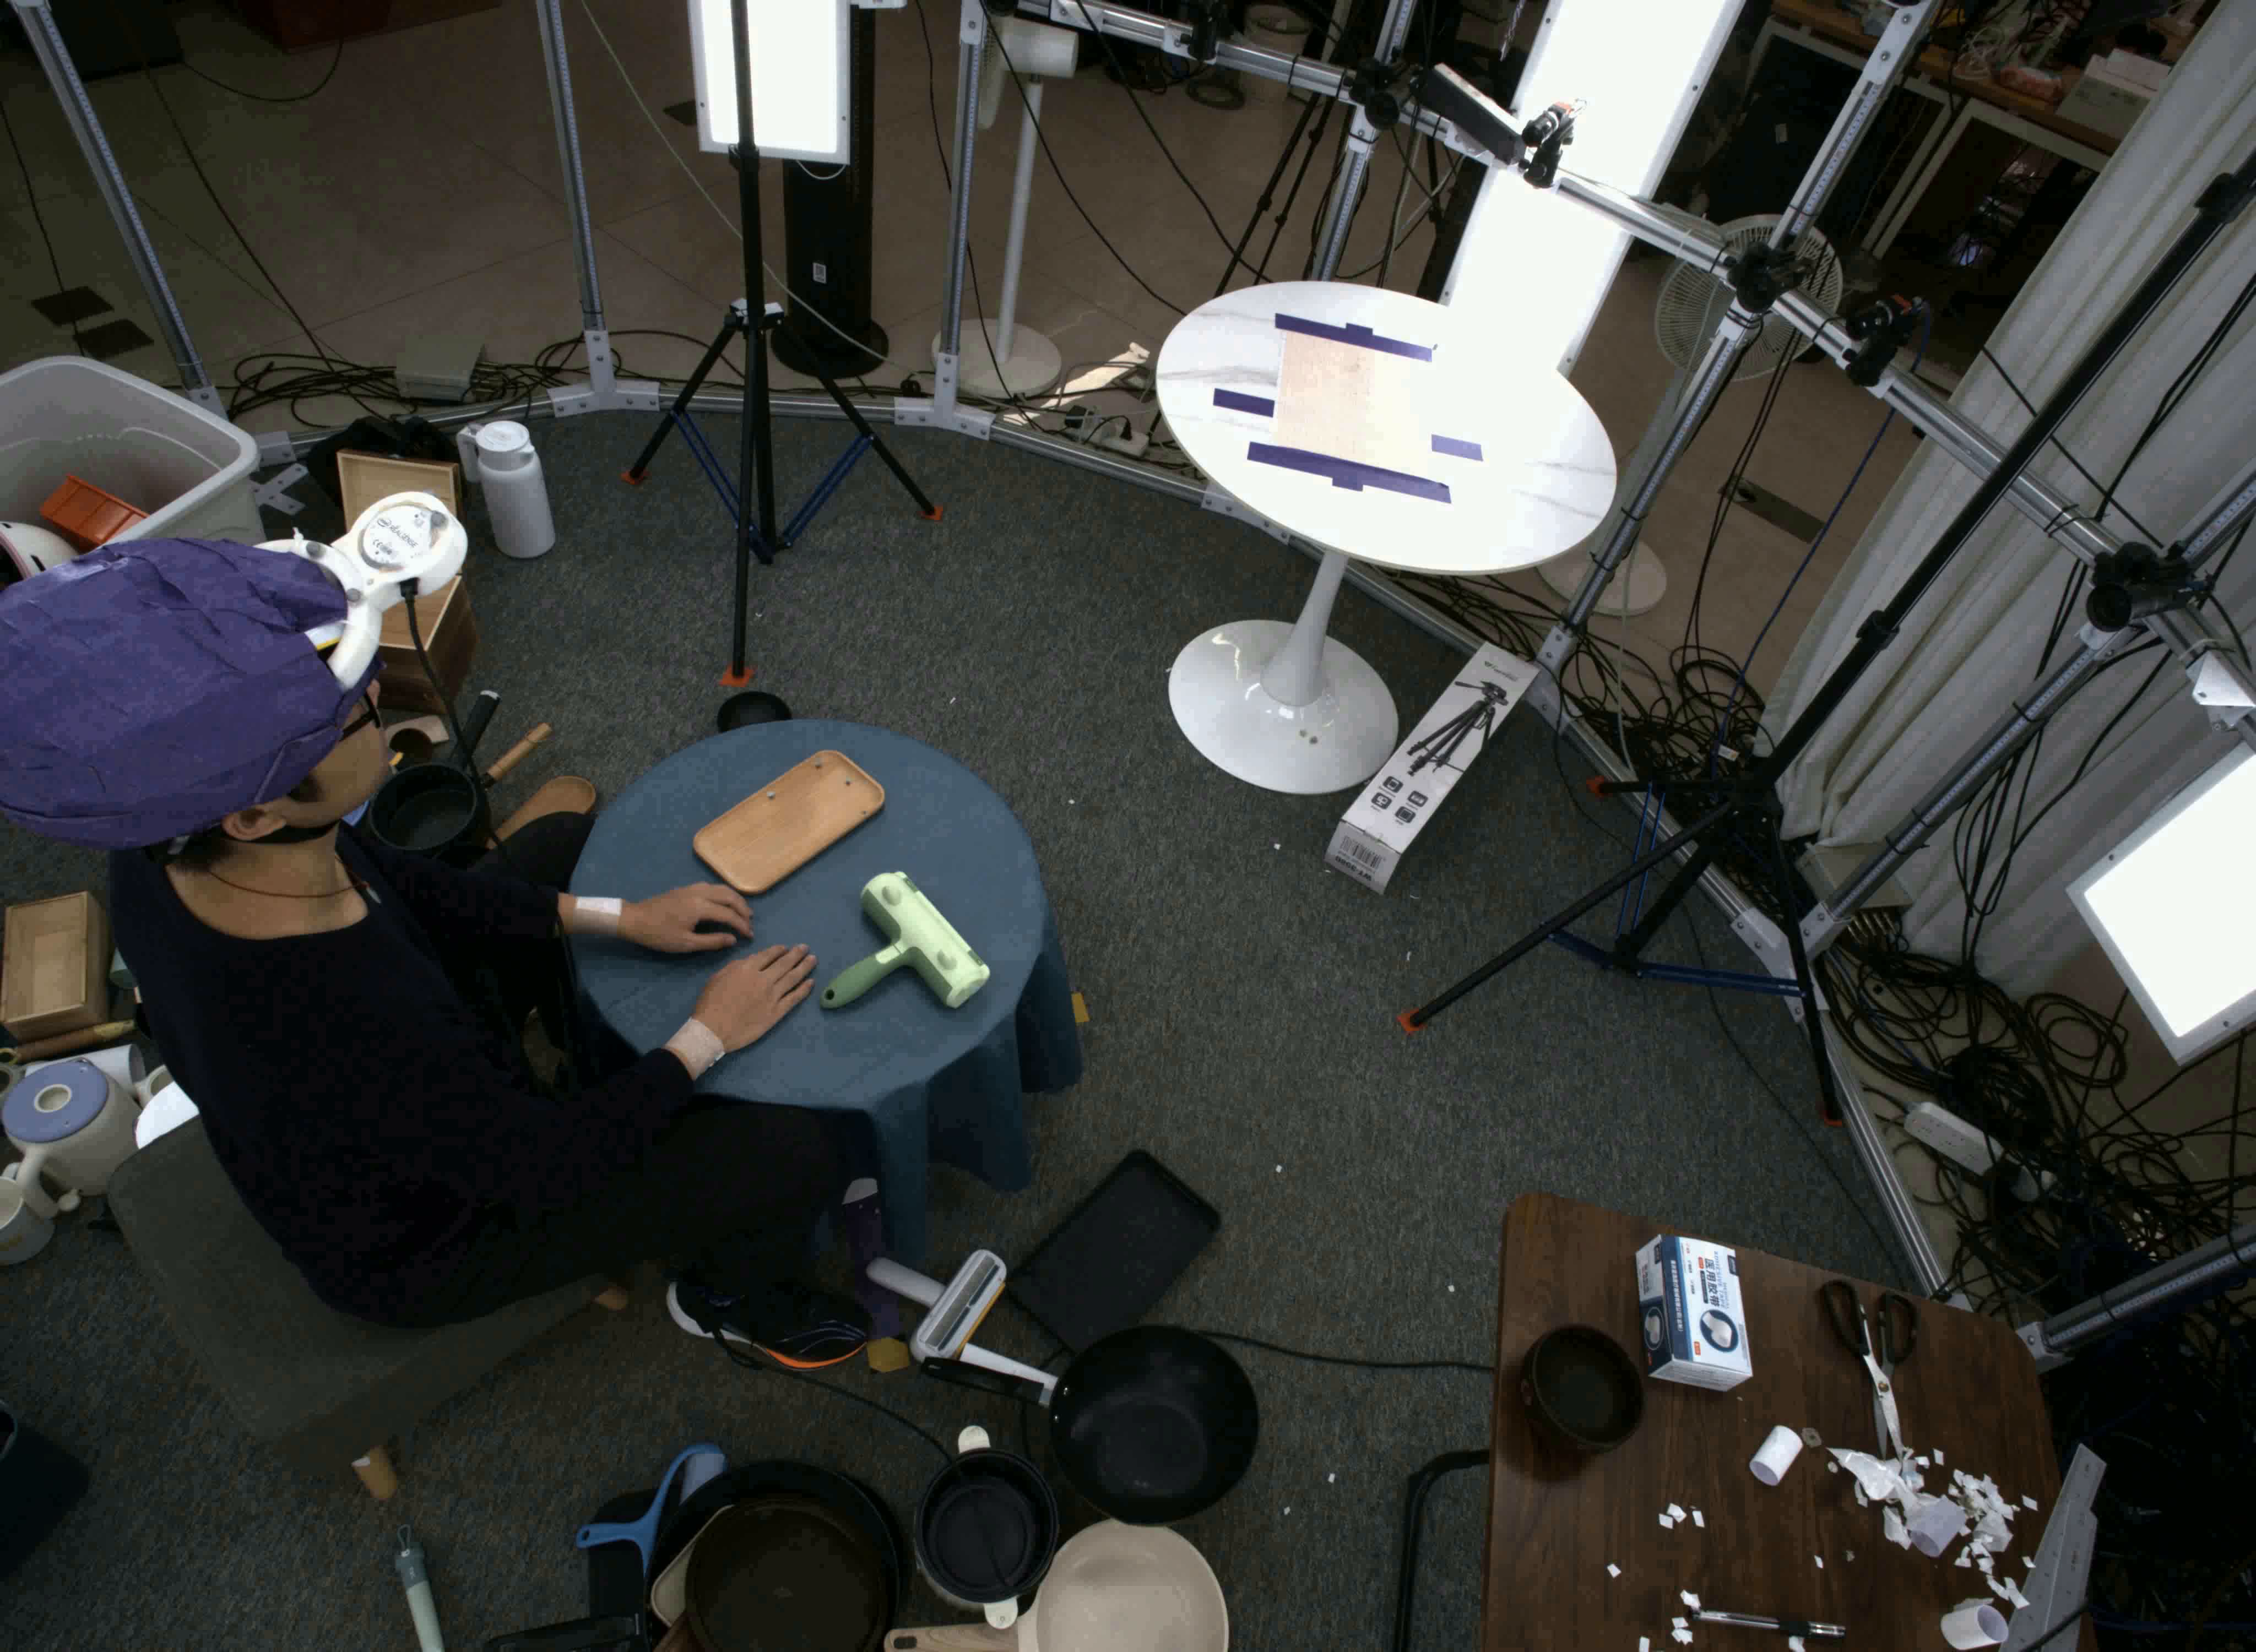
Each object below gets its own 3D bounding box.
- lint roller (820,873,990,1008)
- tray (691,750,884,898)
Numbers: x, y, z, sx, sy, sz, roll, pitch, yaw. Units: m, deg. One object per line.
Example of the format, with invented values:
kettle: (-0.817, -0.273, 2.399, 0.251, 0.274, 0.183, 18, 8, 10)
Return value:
lint roller: (-0.294, 0.153, 1.578, 0.184, 0.084, 0.194, -29, 64, -38)
tray: (-0.444, -0.006, 1.703, 0.127, 0.023, 0.251, 38, 54, 17)
